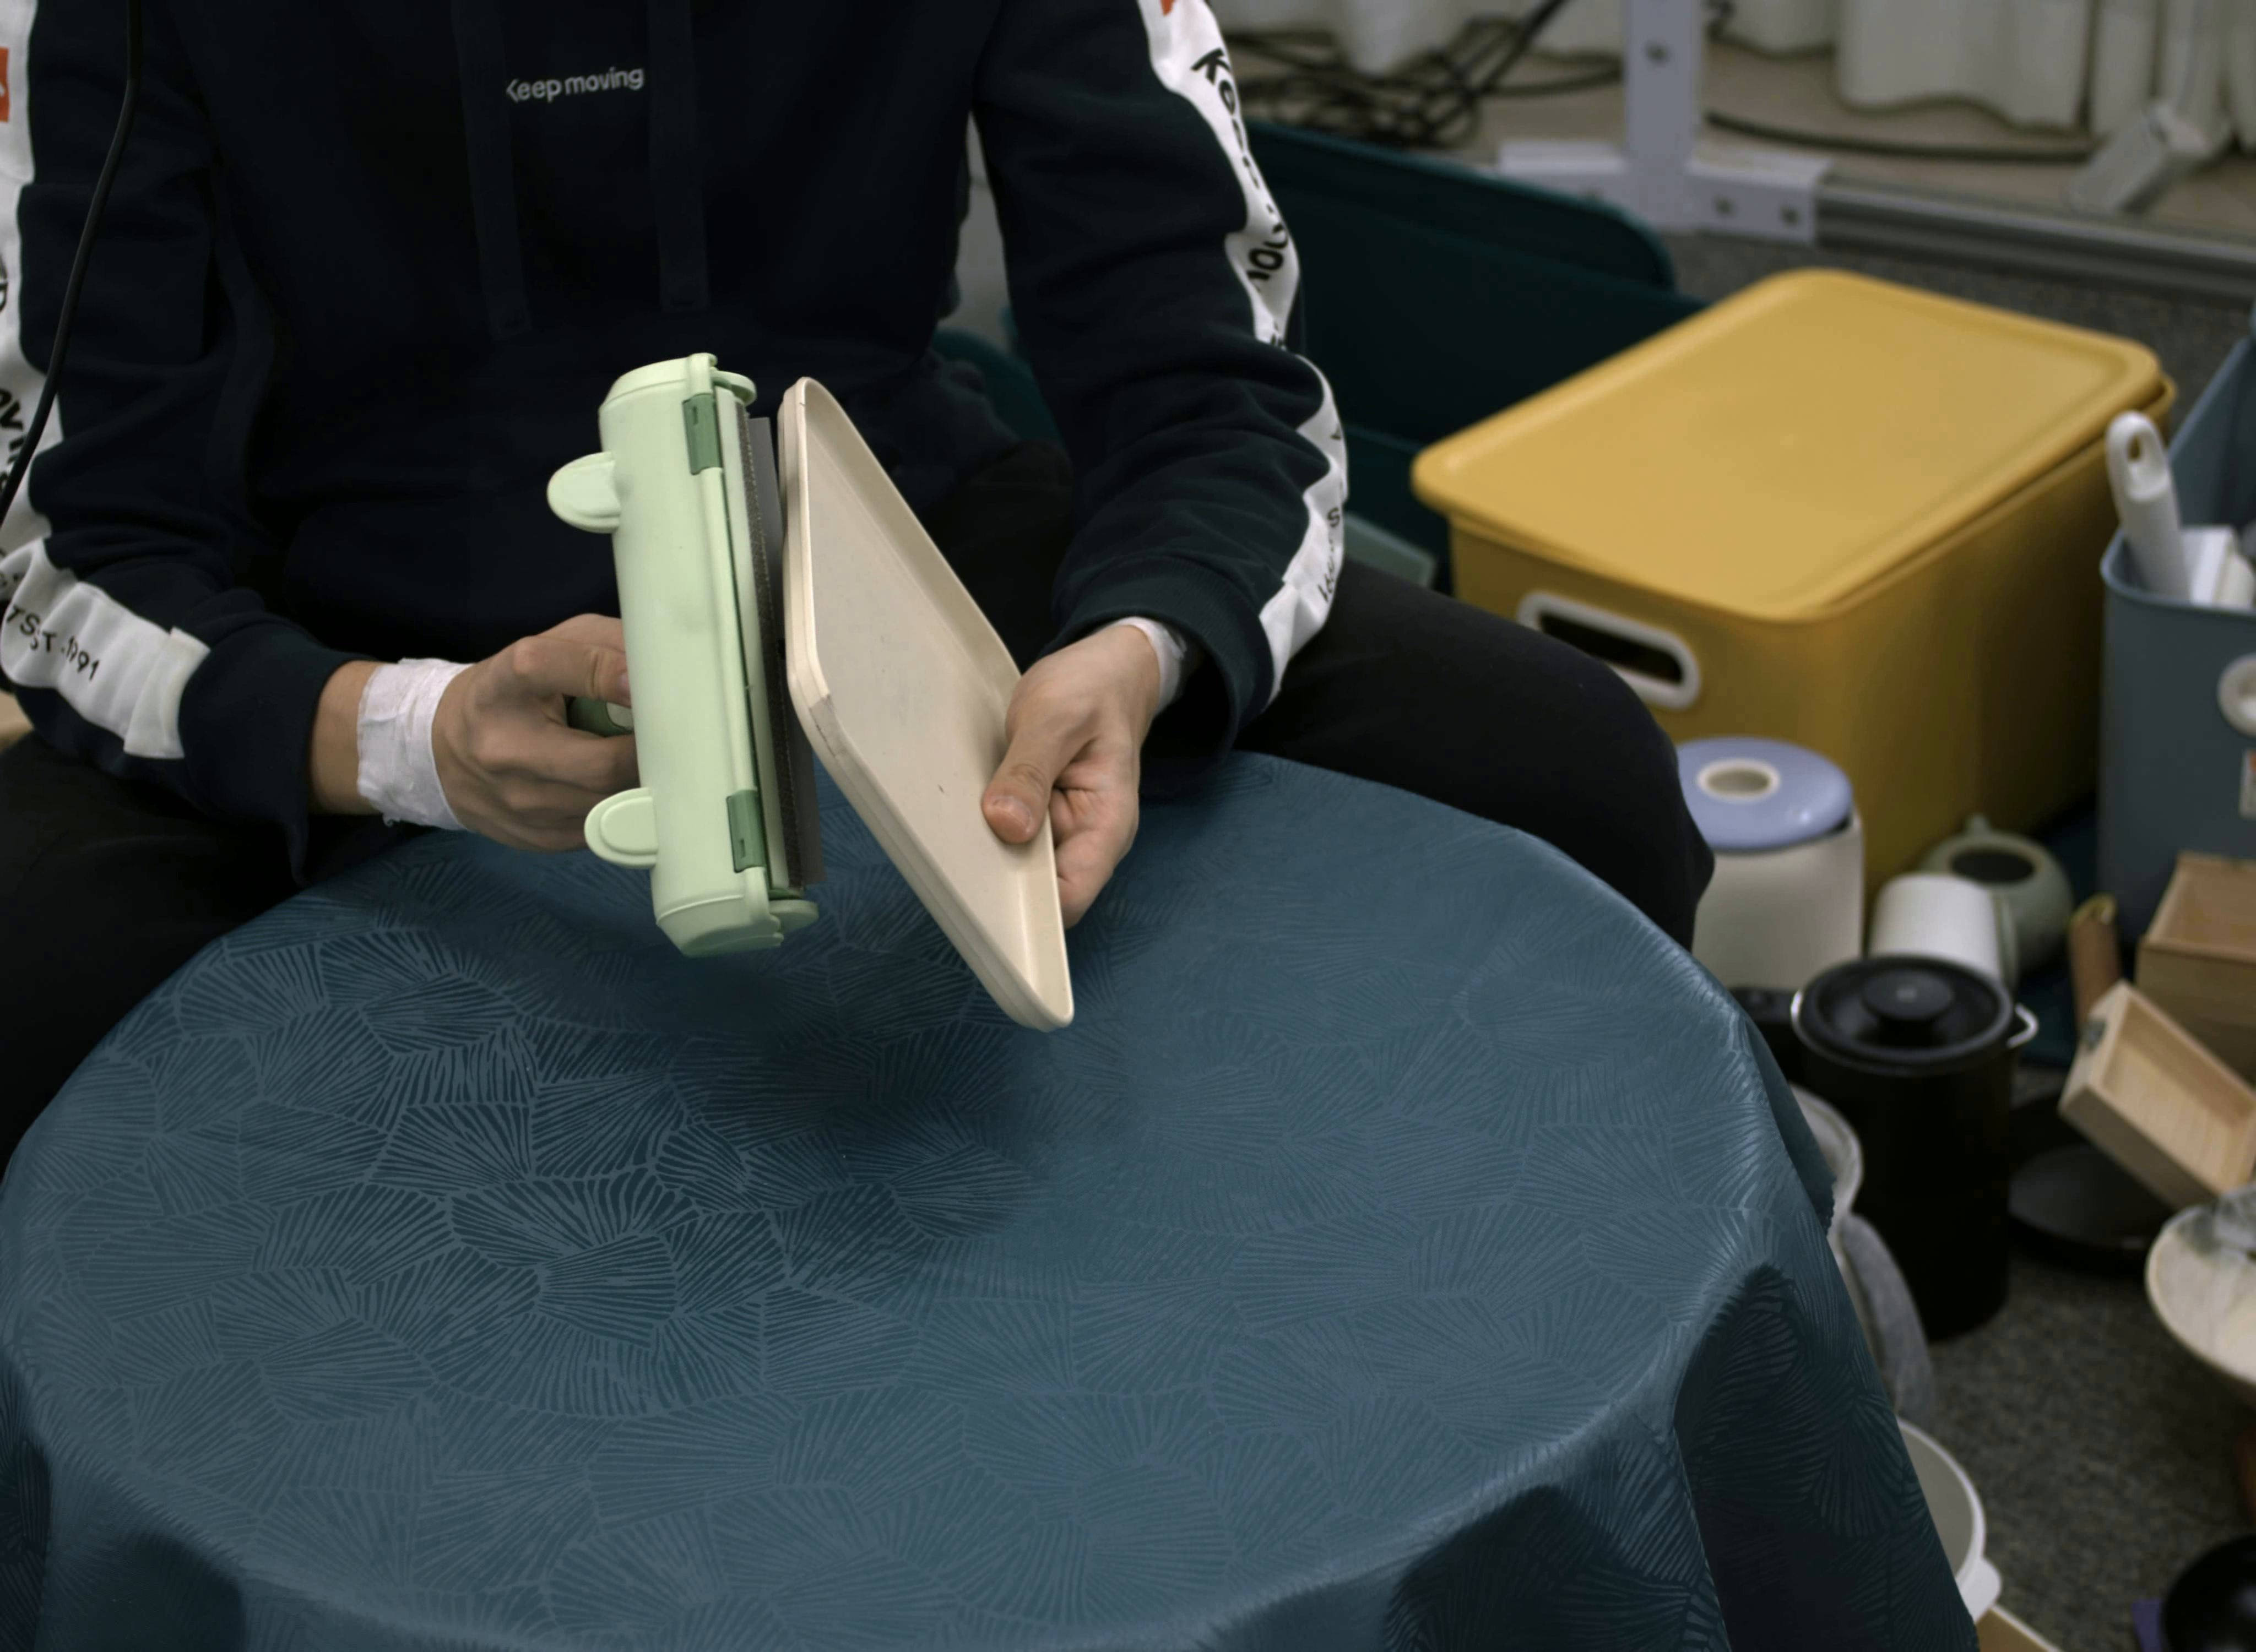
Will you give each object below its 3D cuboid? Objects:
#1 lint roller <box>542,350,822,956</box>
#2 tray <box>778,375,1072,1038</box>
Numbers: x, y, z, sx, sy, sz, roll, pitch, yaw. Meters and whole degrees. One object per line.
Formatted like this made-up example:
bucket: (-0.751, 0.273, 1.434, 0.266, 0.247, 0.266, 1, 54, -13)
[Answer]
lint roller: (-0.176, -0.043, 1.914, 0.082, 0.201, 0.180, 1, -15, -34)
tray: (-0.073, -0.041, 1.927, 0.017, 0.170, 0.243, -27, 30, 12)
